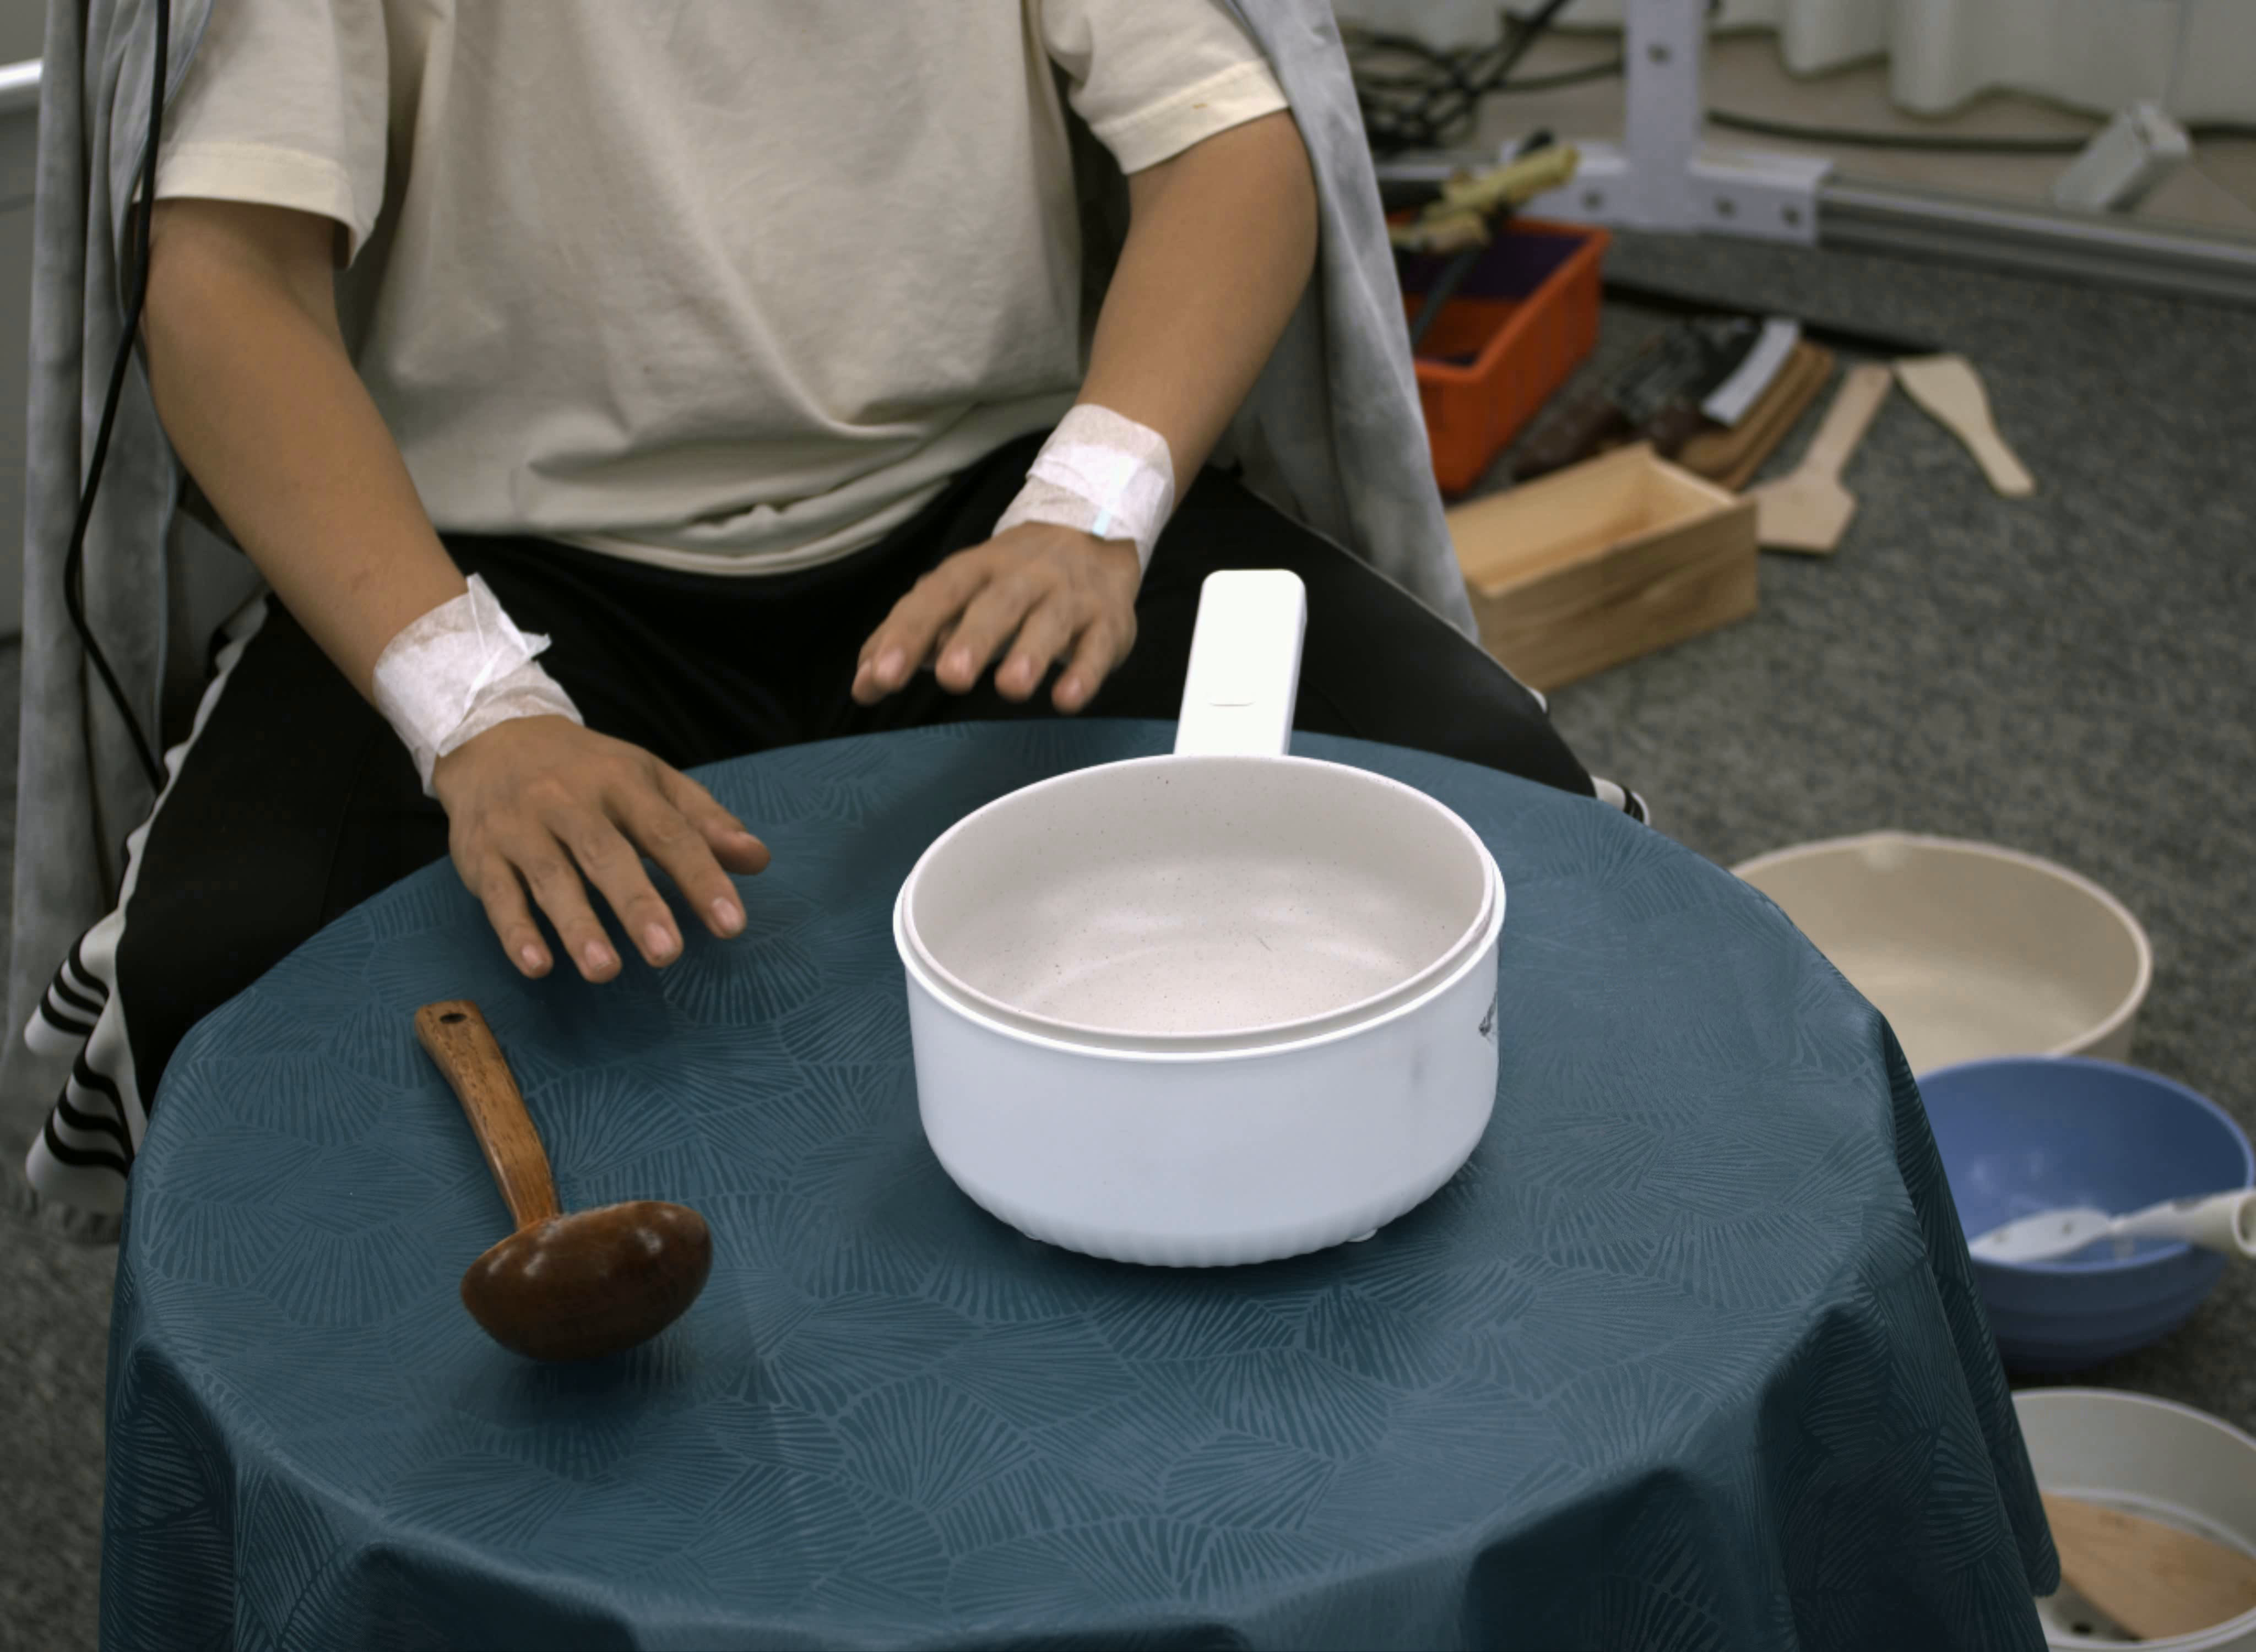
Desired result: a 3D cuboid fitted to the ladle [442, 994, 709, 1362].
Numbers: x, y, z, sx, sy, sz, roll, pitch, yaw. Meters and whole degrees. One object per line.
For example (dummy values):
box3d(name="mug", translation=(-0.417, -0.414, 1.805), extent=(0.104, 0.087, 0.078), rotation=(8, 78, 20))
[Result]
box3d(name="ladle", translation=(-0.198, 0.095, 1.845), extent=(0.082, 0.076, 0.277), rotation=(-2, 26, -16))

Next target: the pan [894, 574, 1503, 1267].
box3d(name="pan", translation=(0.033, 0.029, 1.930), extent=(0.200, 0.101, 0.360), rotation=(-1, 26, 7))
